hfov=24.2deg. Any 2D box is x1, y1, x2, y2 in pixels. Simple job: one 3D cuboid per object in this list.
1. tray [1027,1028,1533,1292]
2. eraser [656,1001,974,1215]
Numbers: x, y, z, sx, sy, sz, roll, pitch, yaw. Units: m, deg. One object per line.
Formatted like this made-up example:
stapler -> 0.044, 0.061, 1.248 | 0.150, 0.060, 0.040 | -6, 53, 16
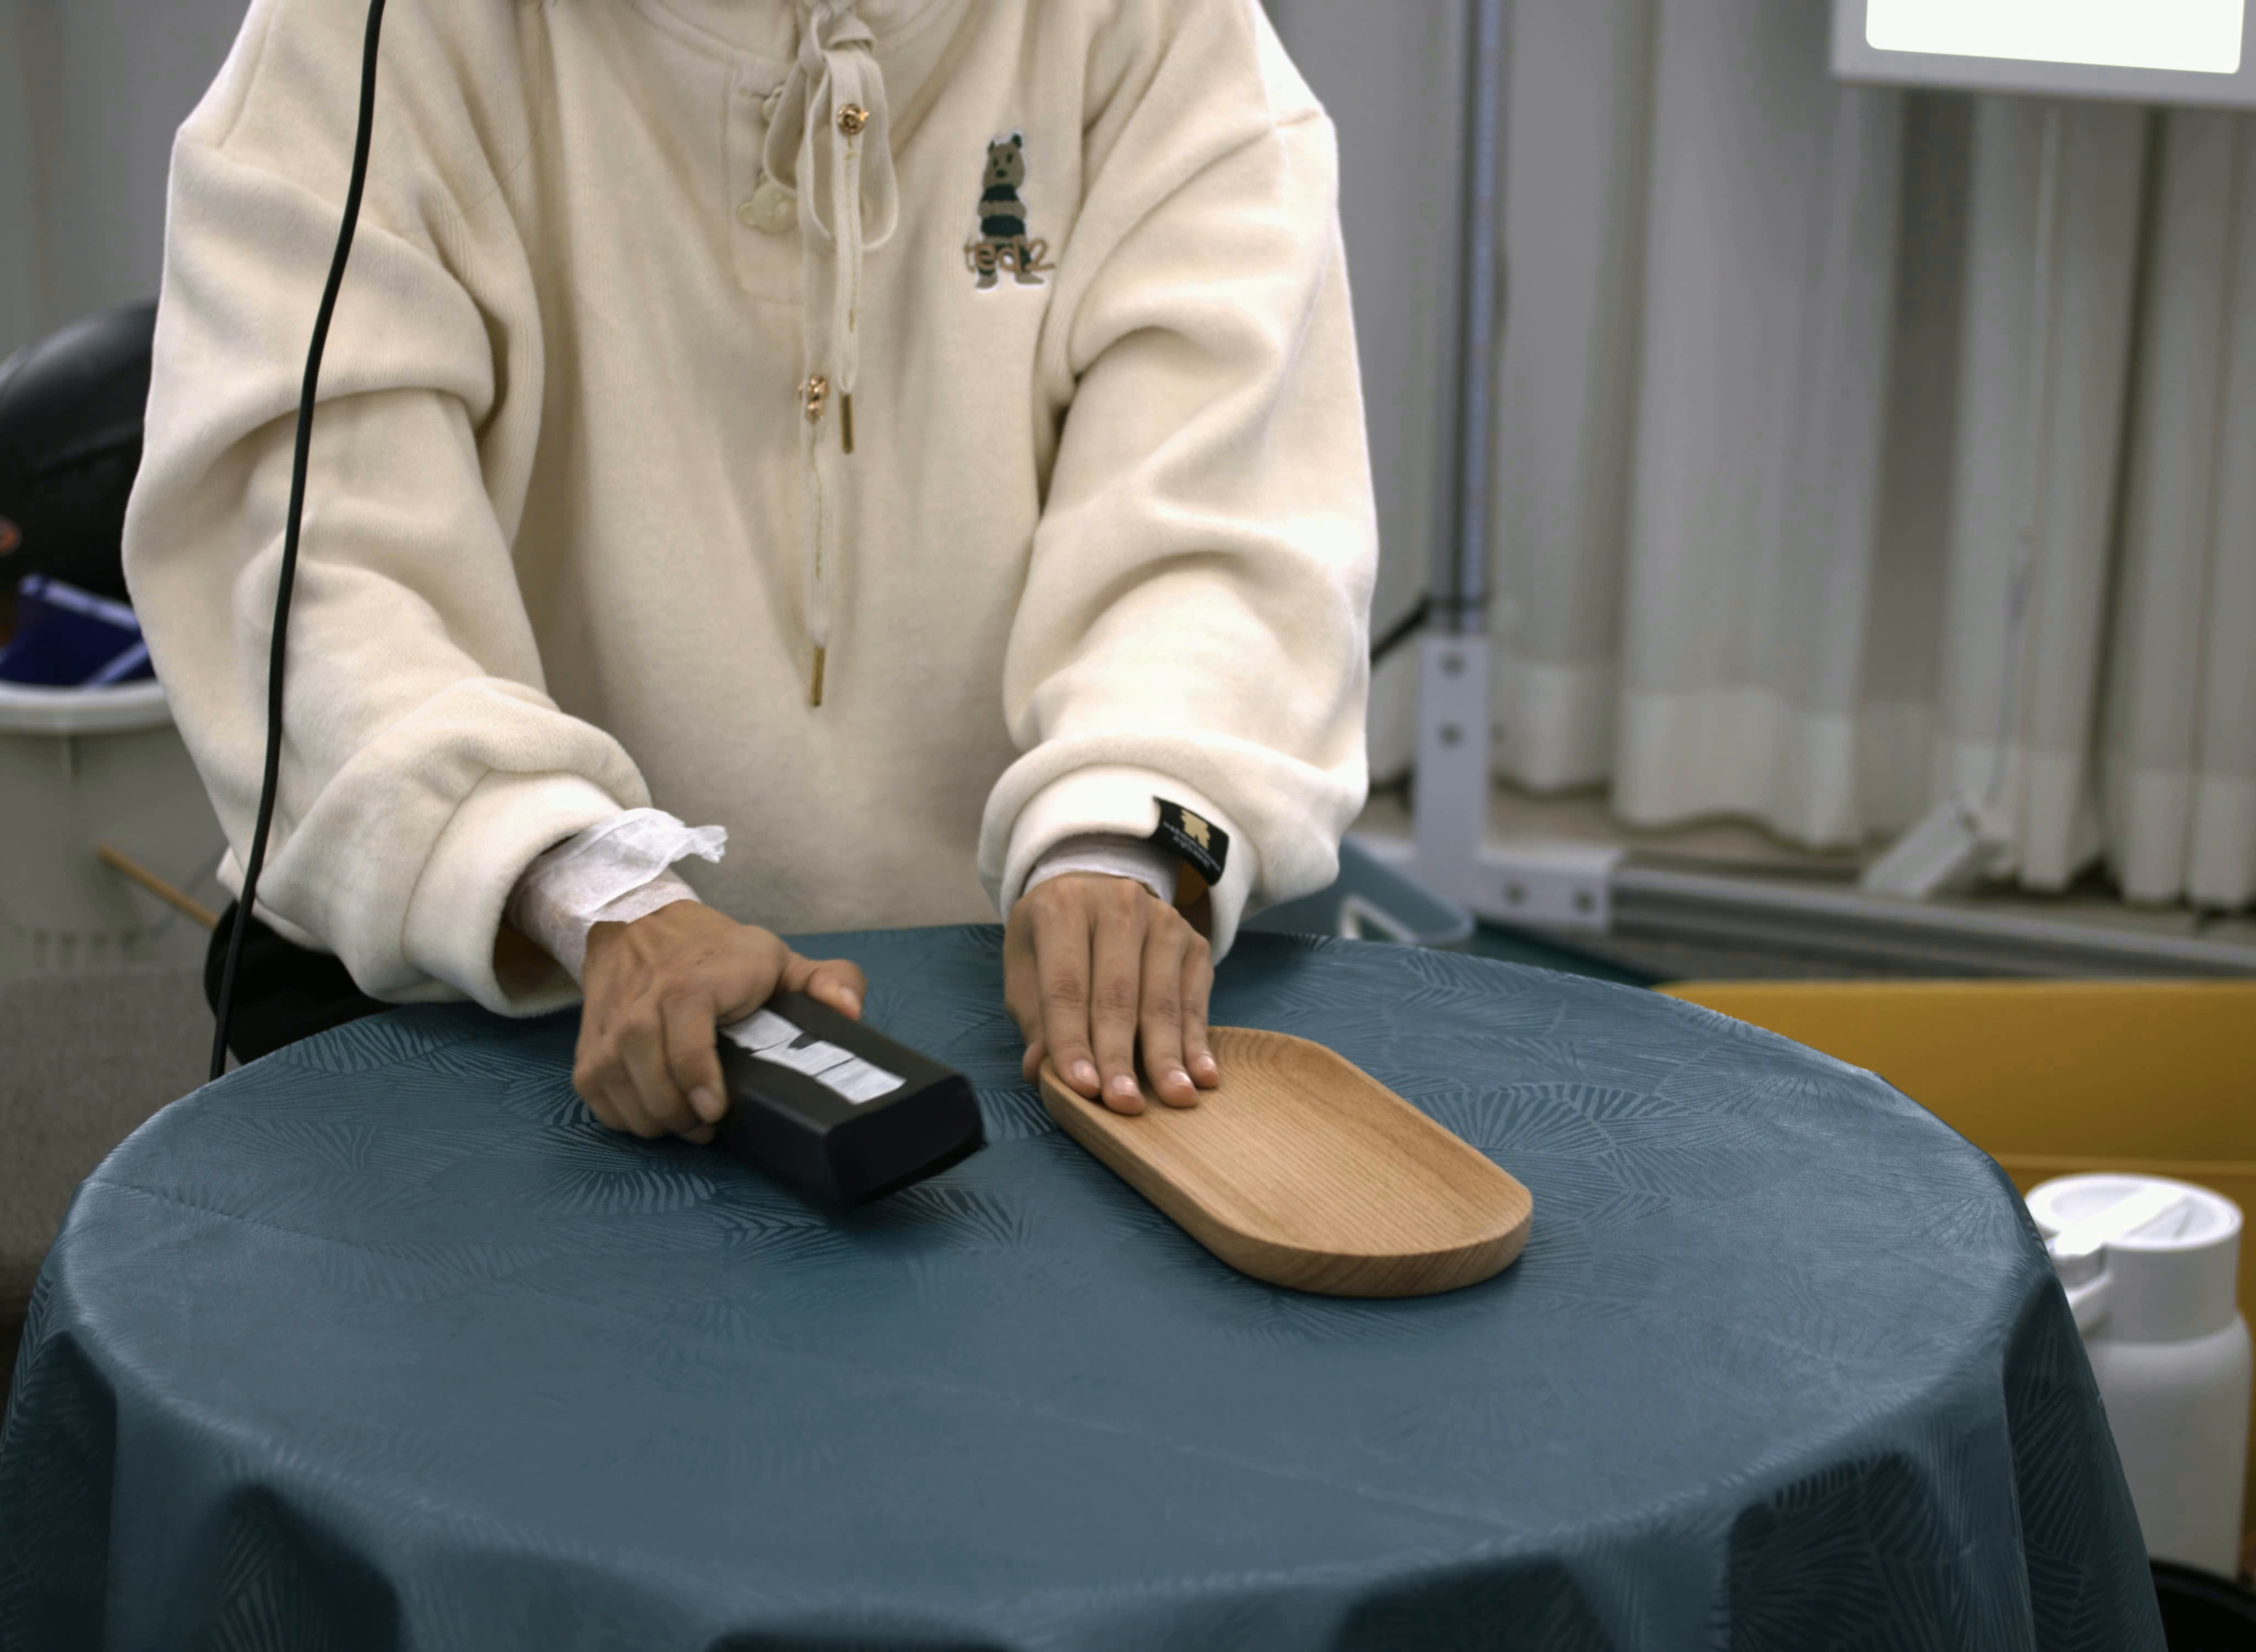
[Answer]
tray -> 0.044, 0.101, 1.632 | 0.102, 0.020, 0.228 | -5, 15, -23
eraser -> -0.097, 0.086, 1.628 | 0.053, 0.031, 0.124 | -16, 19, -25
